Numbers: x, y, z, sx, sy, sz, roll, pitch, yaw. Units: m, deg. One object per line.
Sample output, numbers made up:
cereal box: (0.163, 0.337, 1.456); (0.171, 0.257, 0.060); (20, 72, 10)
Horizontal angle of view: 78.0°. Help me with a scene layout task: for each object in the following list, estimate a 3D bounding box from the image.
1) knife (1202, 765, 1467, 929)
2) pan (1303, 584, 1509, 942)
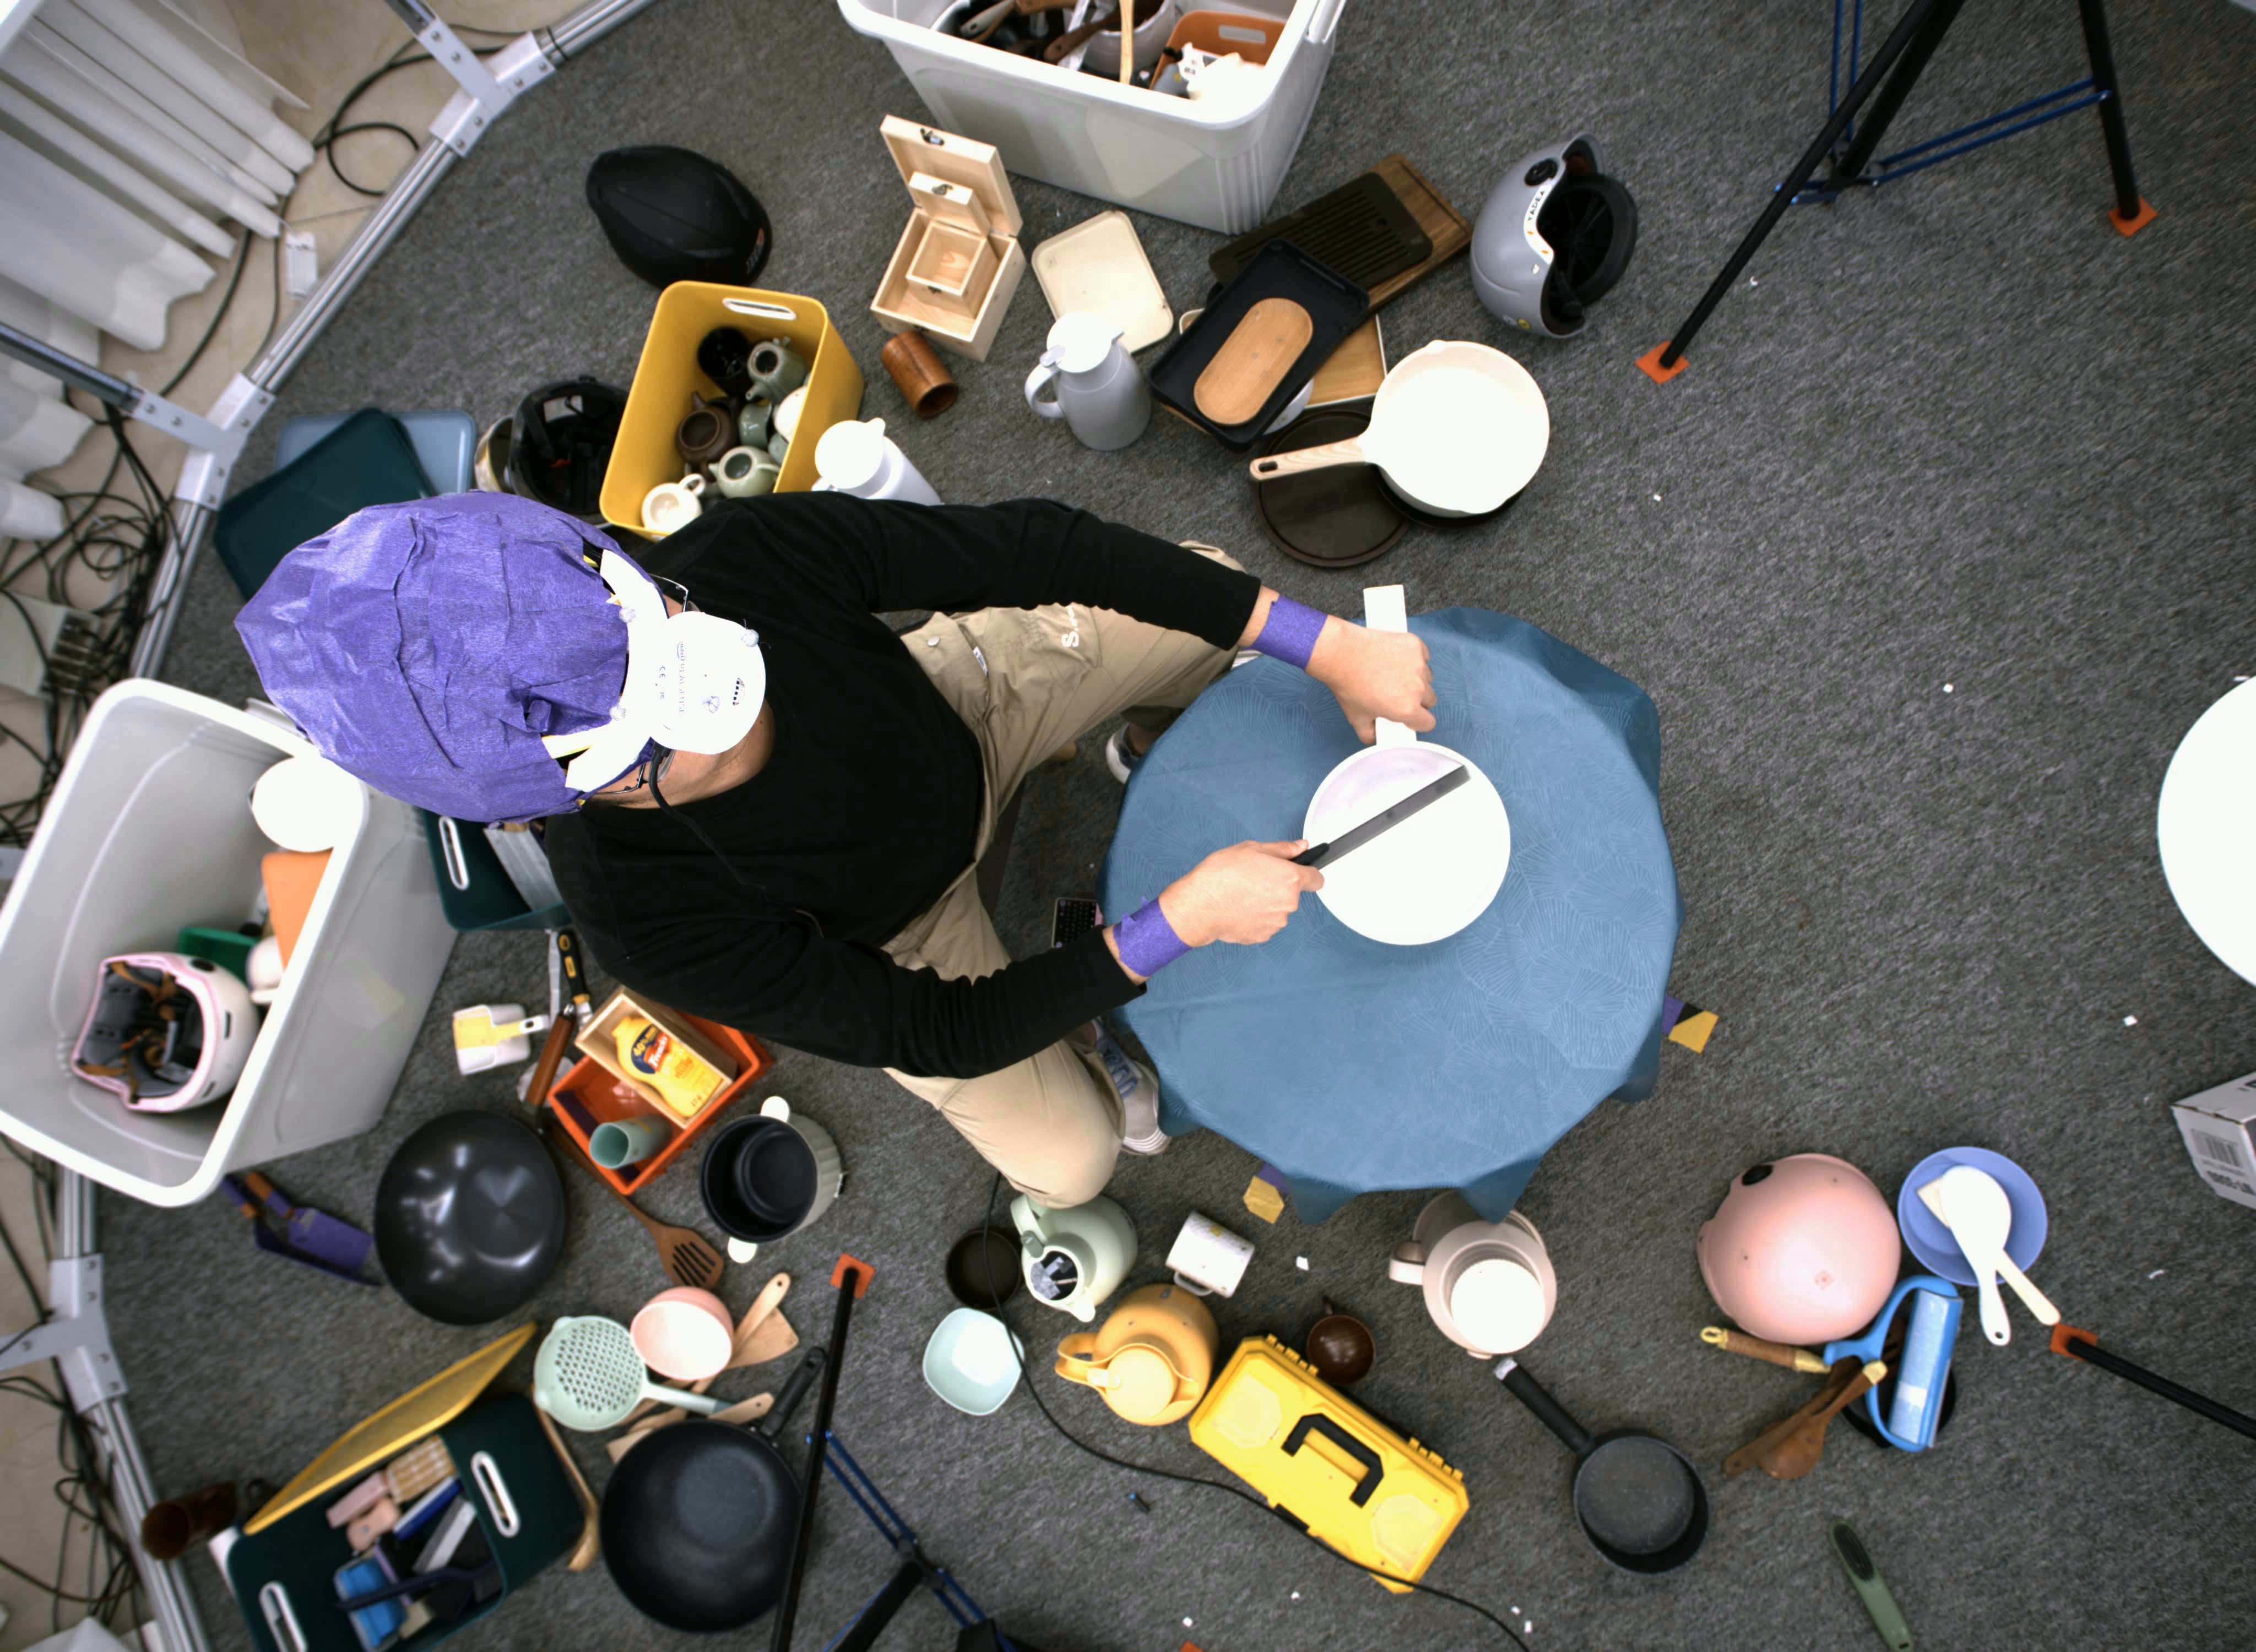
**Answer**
knife: (0.197, 0.019, 1.297); (0.299, 0.082, 0.020); (-27, 70, -19)
pan: (0.276, -0.064, 1.400); (0.202, 0.101, 0.355); (-4, 93, 11)
